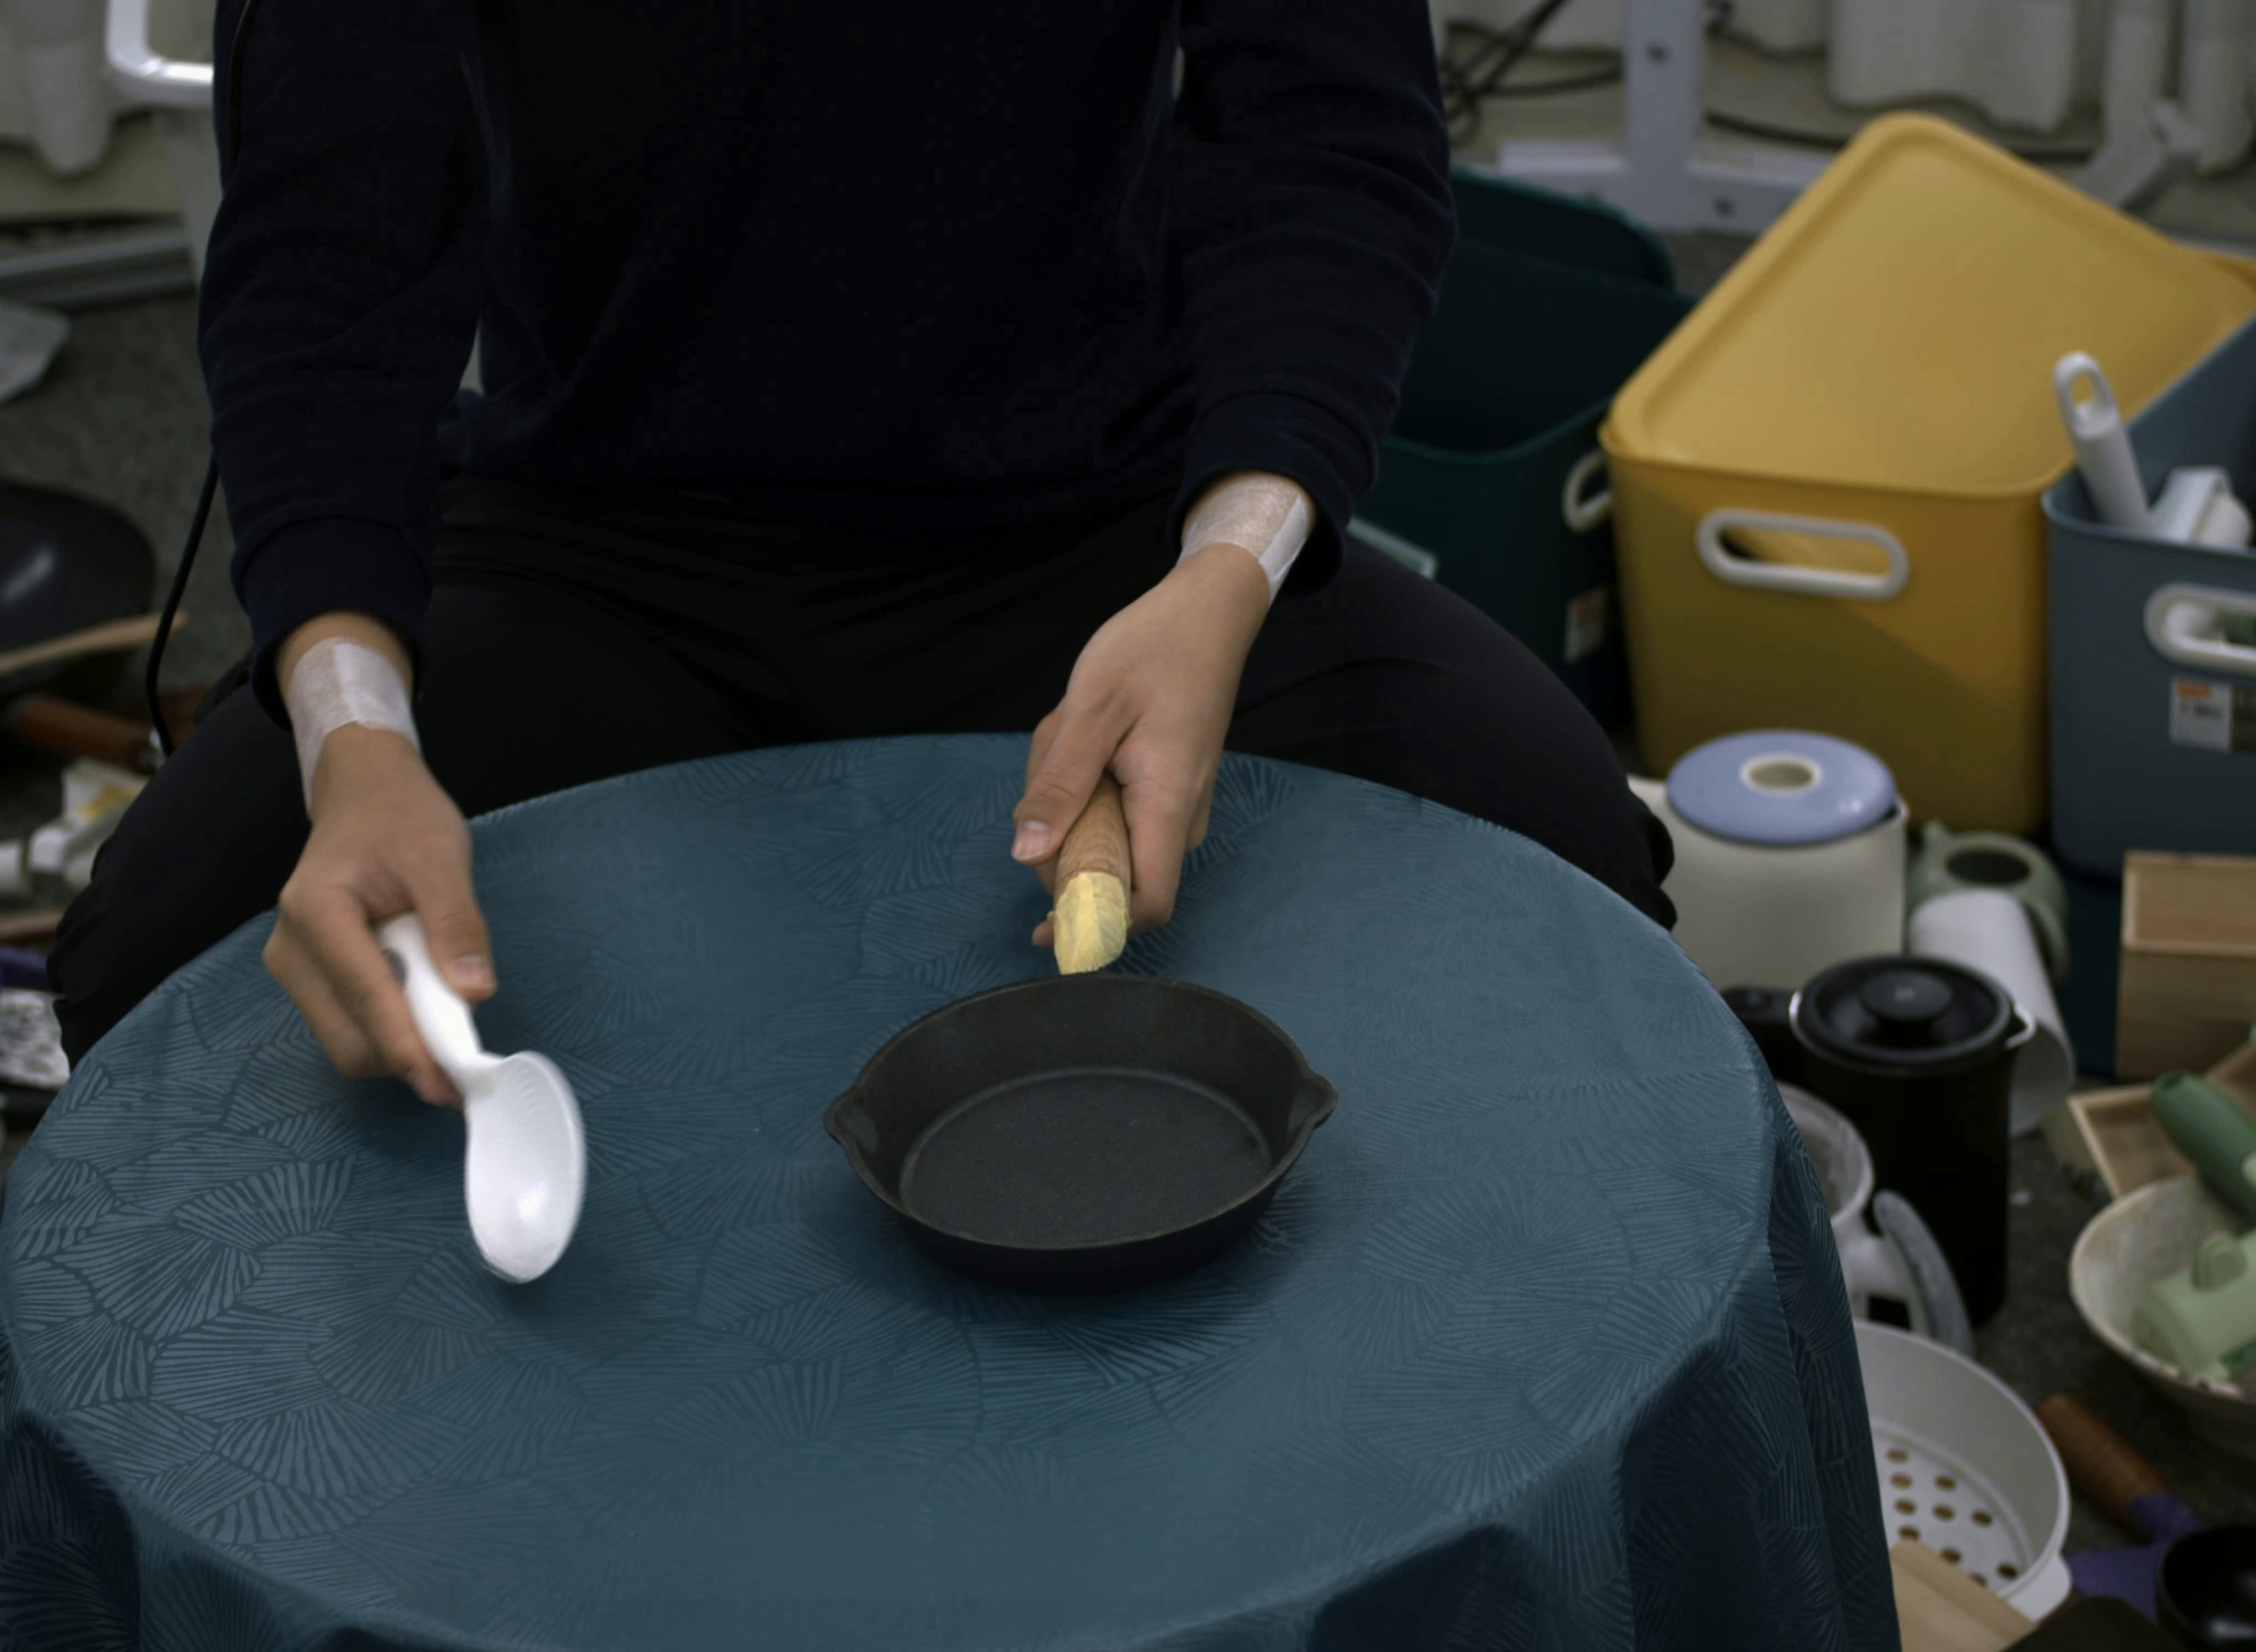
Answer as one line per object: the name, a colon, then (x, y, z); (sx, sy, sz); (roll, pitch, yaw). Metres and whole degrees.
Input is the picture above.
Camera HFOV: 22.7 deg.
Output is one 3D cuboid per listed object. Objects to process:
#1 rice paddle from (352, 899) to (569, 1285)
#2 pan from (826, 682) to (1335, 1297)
rice paddle: (-0.220, 0.085, 1.865); (0.029, 0.068, 0.207); (12, 22, -28)
pan: (-0.011, 0.053, 1.921); (0.168, 0.049, 0.330); (-1, 33, 4)
